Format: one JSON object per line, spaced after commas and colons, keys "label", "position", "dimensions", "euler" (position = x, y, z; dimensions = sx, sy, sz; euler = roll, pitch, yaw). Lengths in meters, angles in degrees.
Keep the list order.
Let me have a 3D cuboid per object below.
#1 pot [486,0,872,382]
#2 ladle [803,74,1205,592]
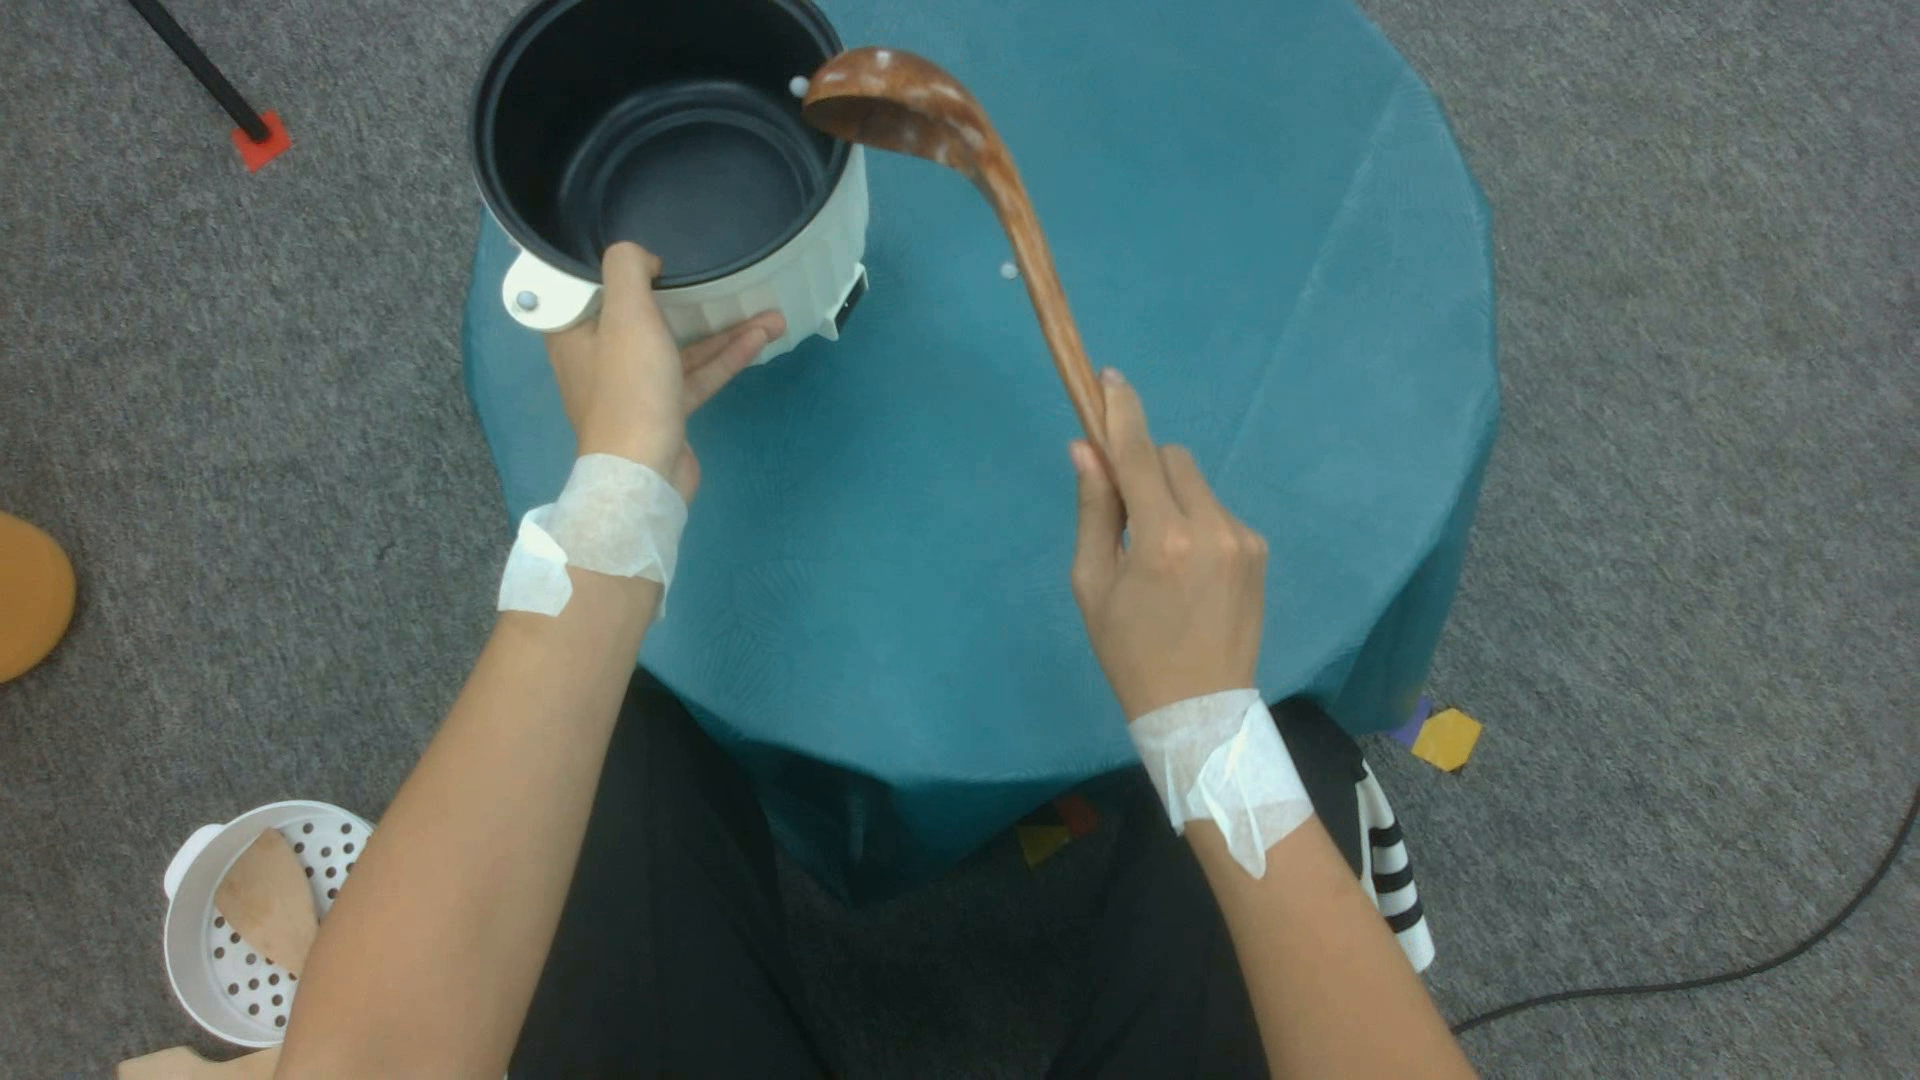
{"label": "pot", "position": [-0.141, -0.180, 0.723], "dimensions": [0.190, 0.142, 0.241], "euler": [26, 74, 6]}
{"label": "ladle", "position": [0.018, -0.087, 0.619], "dimensions": [0.076, 0.082, 0.274], "euler": [-26, 92, 6]}
